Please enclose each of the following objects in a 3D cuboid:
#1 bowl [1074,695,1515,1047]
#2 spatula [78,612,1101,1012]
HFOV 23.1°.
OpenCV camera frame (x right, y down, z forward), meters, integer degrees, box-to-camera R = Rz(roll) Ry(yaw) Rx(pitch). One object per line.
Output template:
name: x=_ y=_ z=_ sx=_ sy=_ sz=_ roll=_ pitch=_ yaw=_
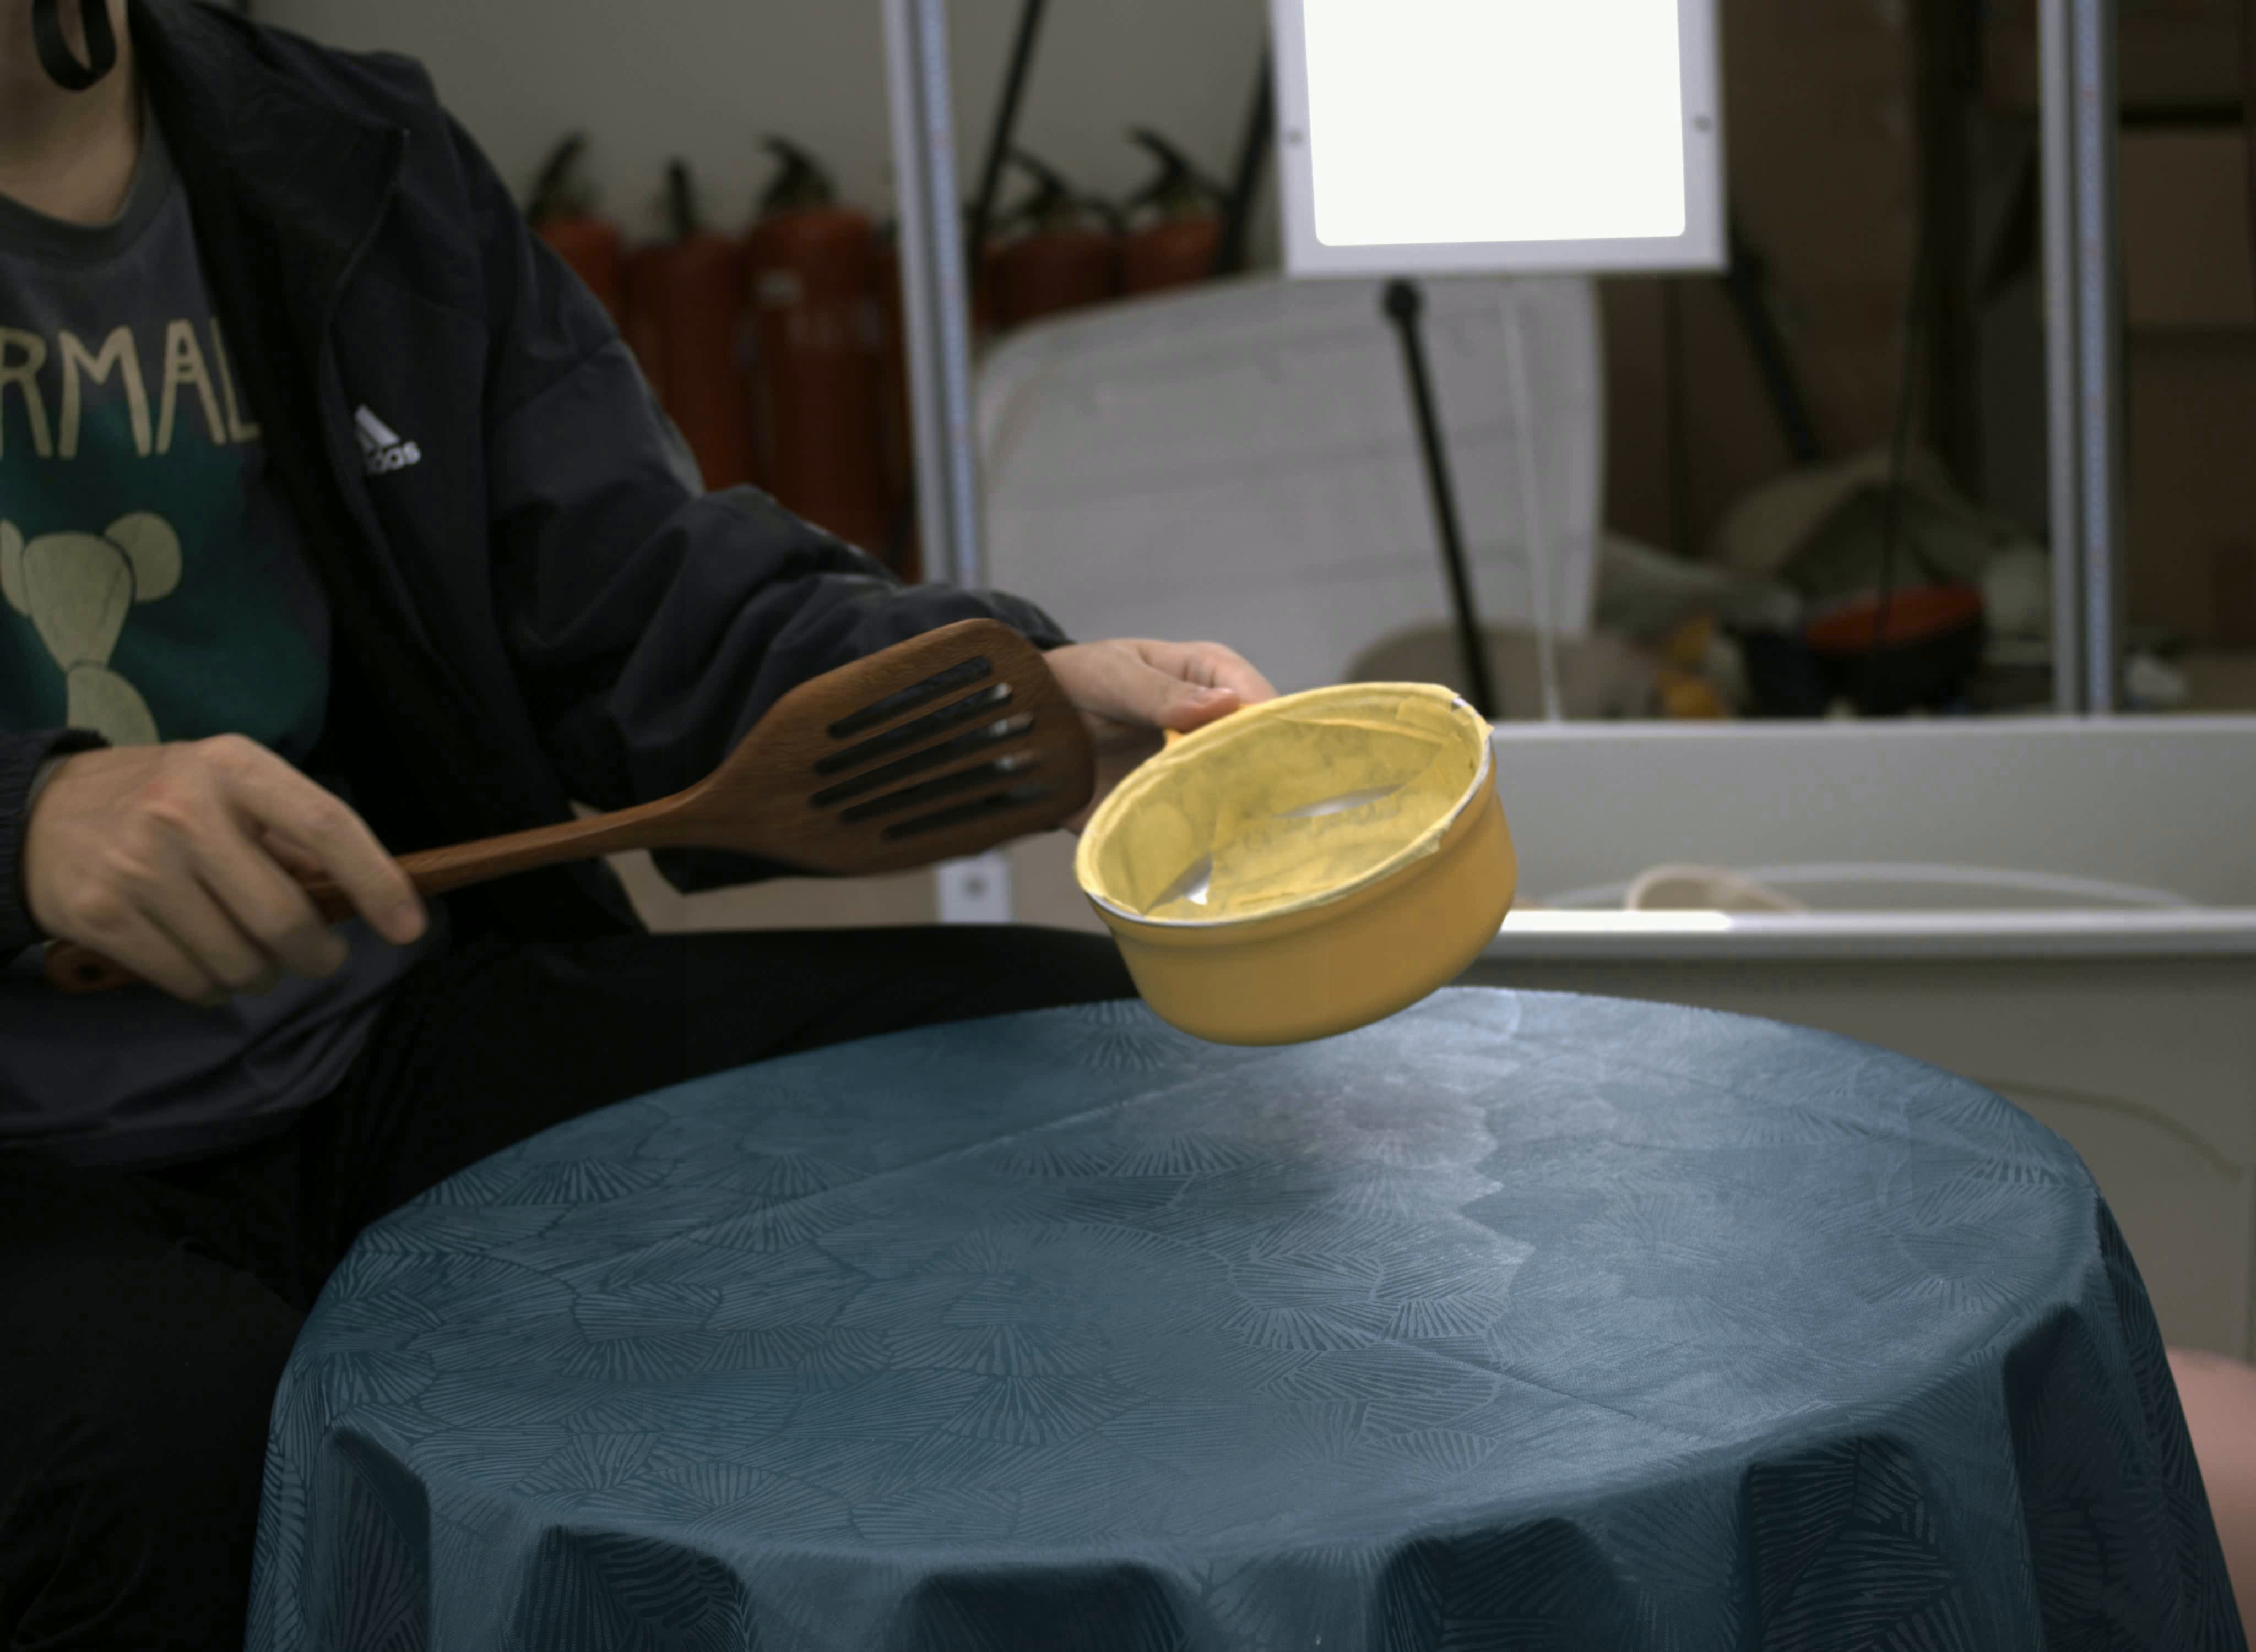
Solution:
bowl: x=0.060 y=0.013 z=1.938 sx=0.151 sy=0.074 sz=0.181 roll=-28 pitch=28 yaw=-10
spatula: x=-0.190 y=0.009 z=1.827 sx=0.393 sy=0.085 sz=0.024 roll=-15 pitch=40 yaw=25
